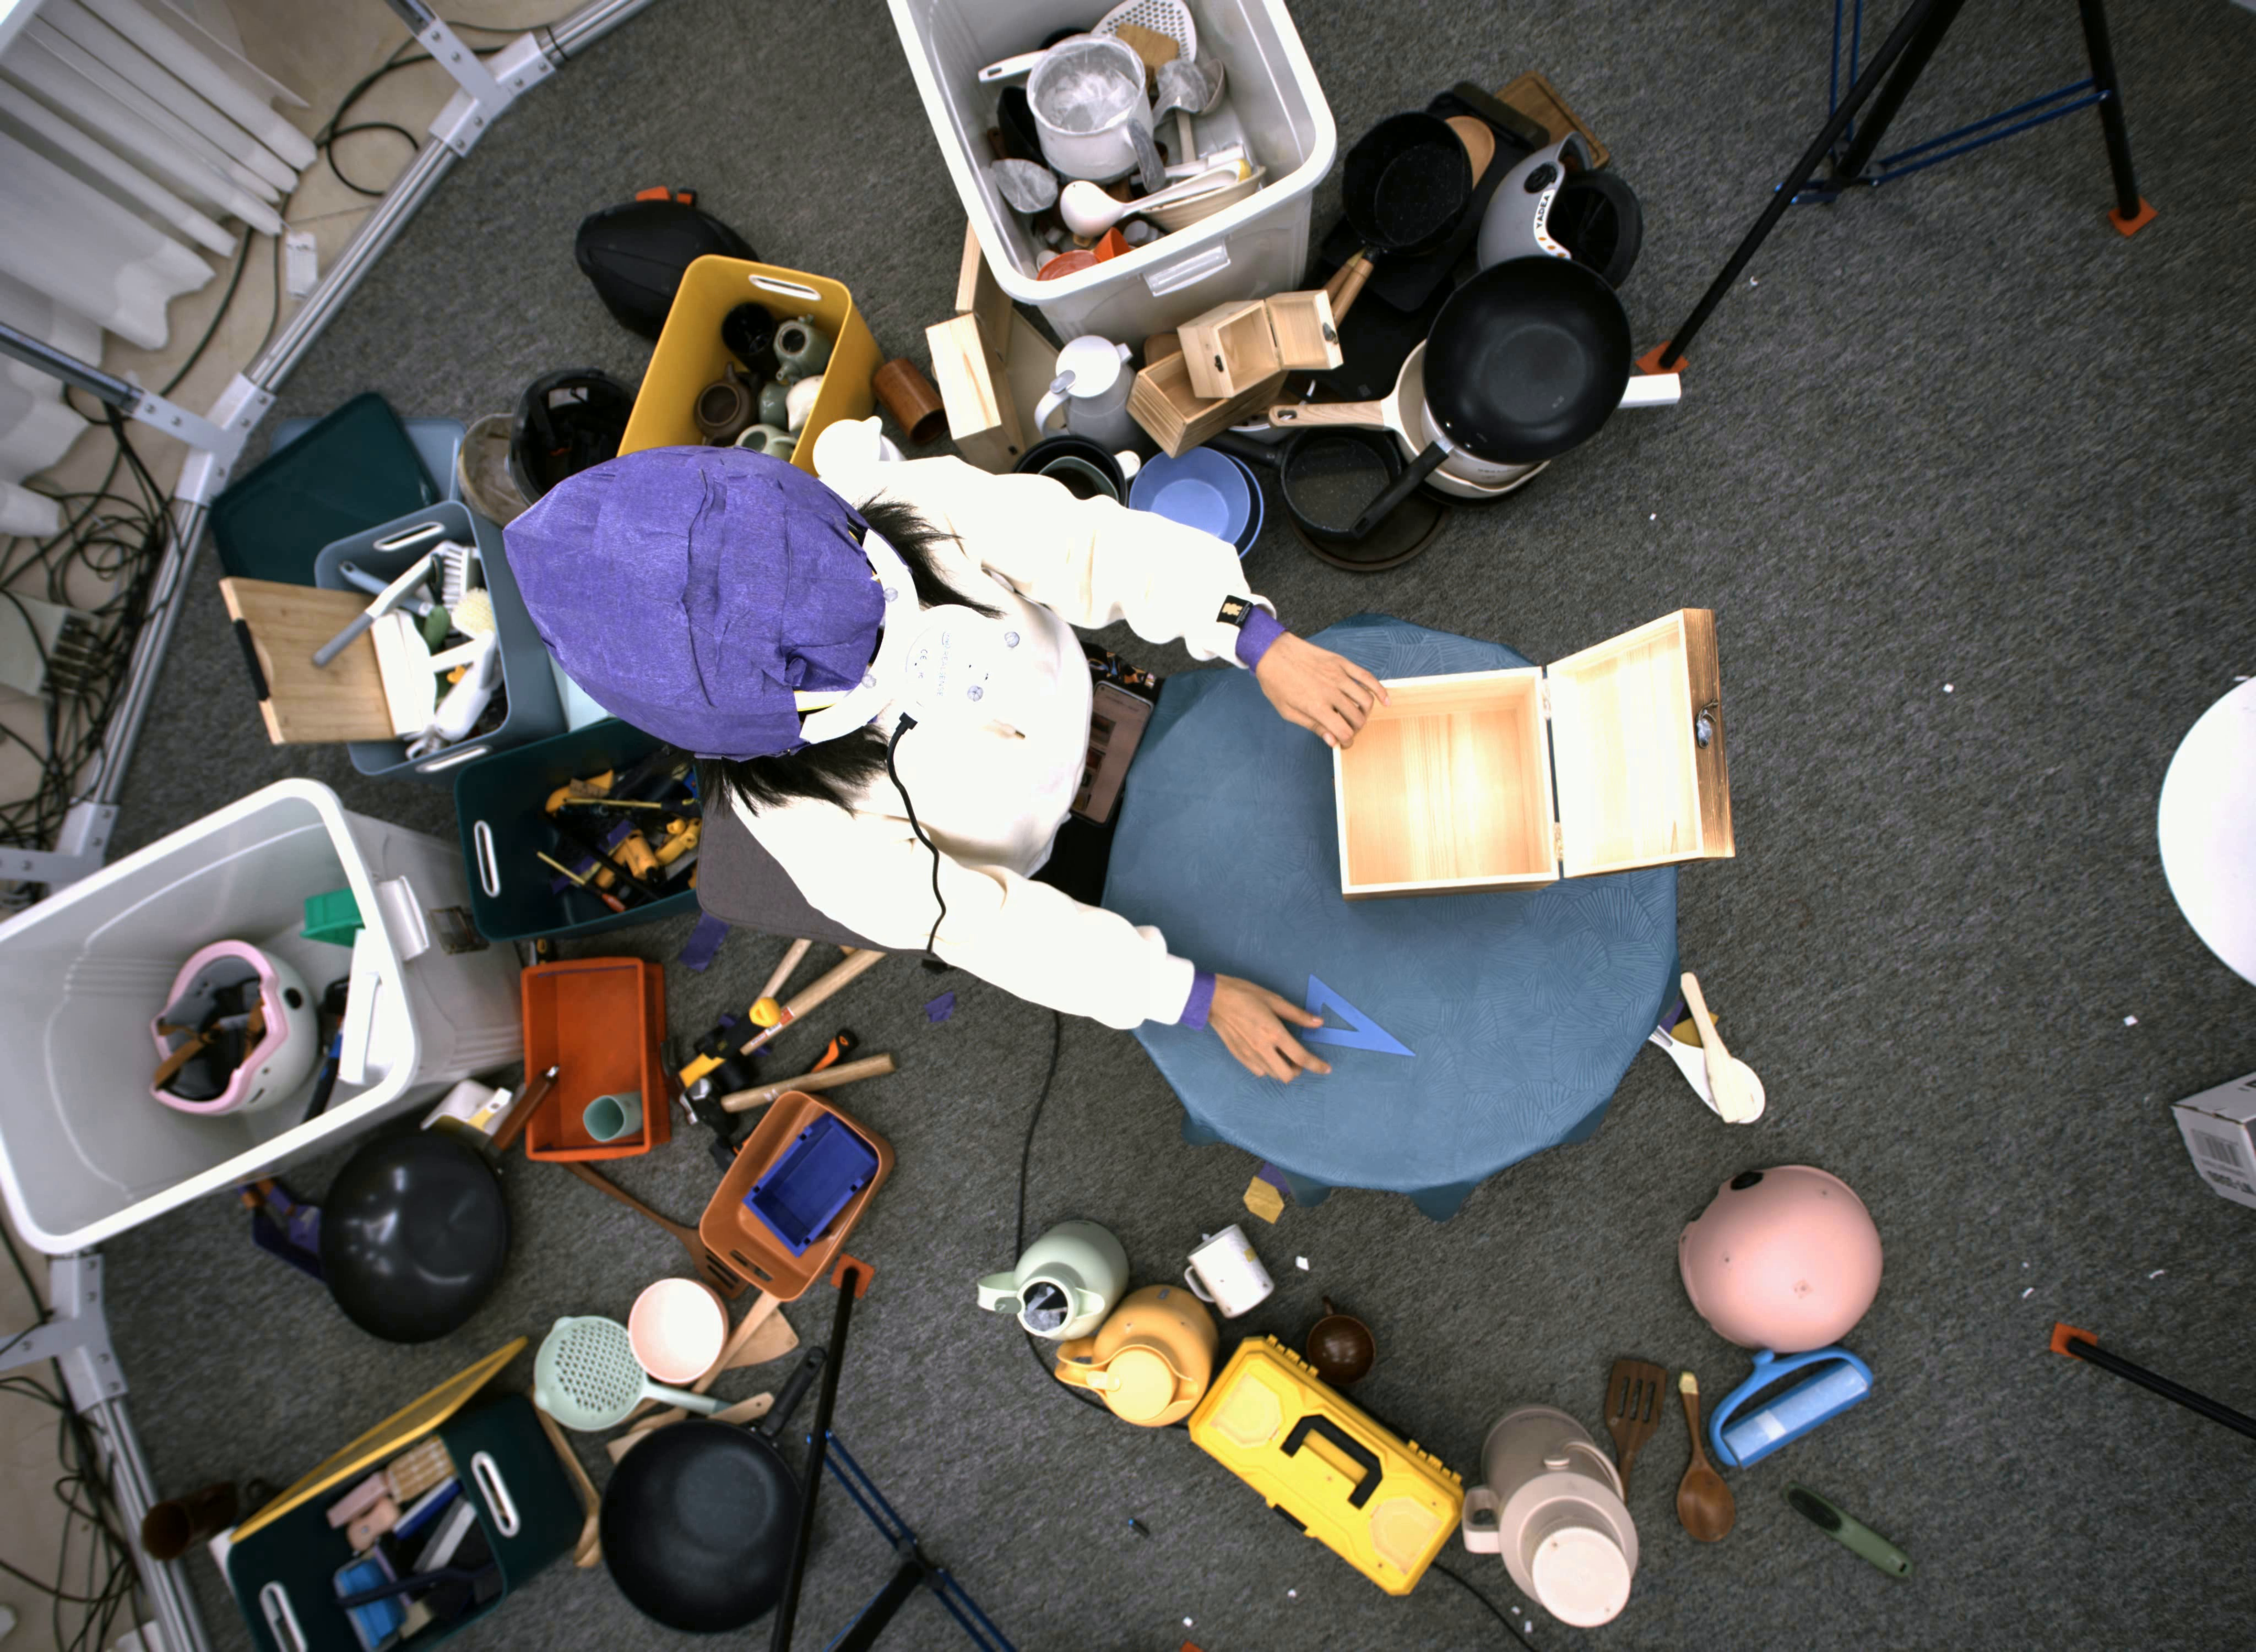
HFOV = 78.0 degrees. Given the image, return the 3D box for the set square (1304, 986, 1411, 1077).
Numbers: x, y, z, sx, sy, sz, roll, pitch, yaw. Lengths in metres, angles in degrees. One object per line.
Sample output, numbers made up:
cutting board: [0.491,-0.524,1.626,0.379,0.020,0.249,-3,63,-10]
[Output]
set square: [0.232,0.231,1.455,0.131,0.006,0.061,42,91,10]

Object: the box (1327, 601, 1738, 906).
box: [0.346,-0.051,1.273,0.323,0.376,0.207,-4,83,8]
